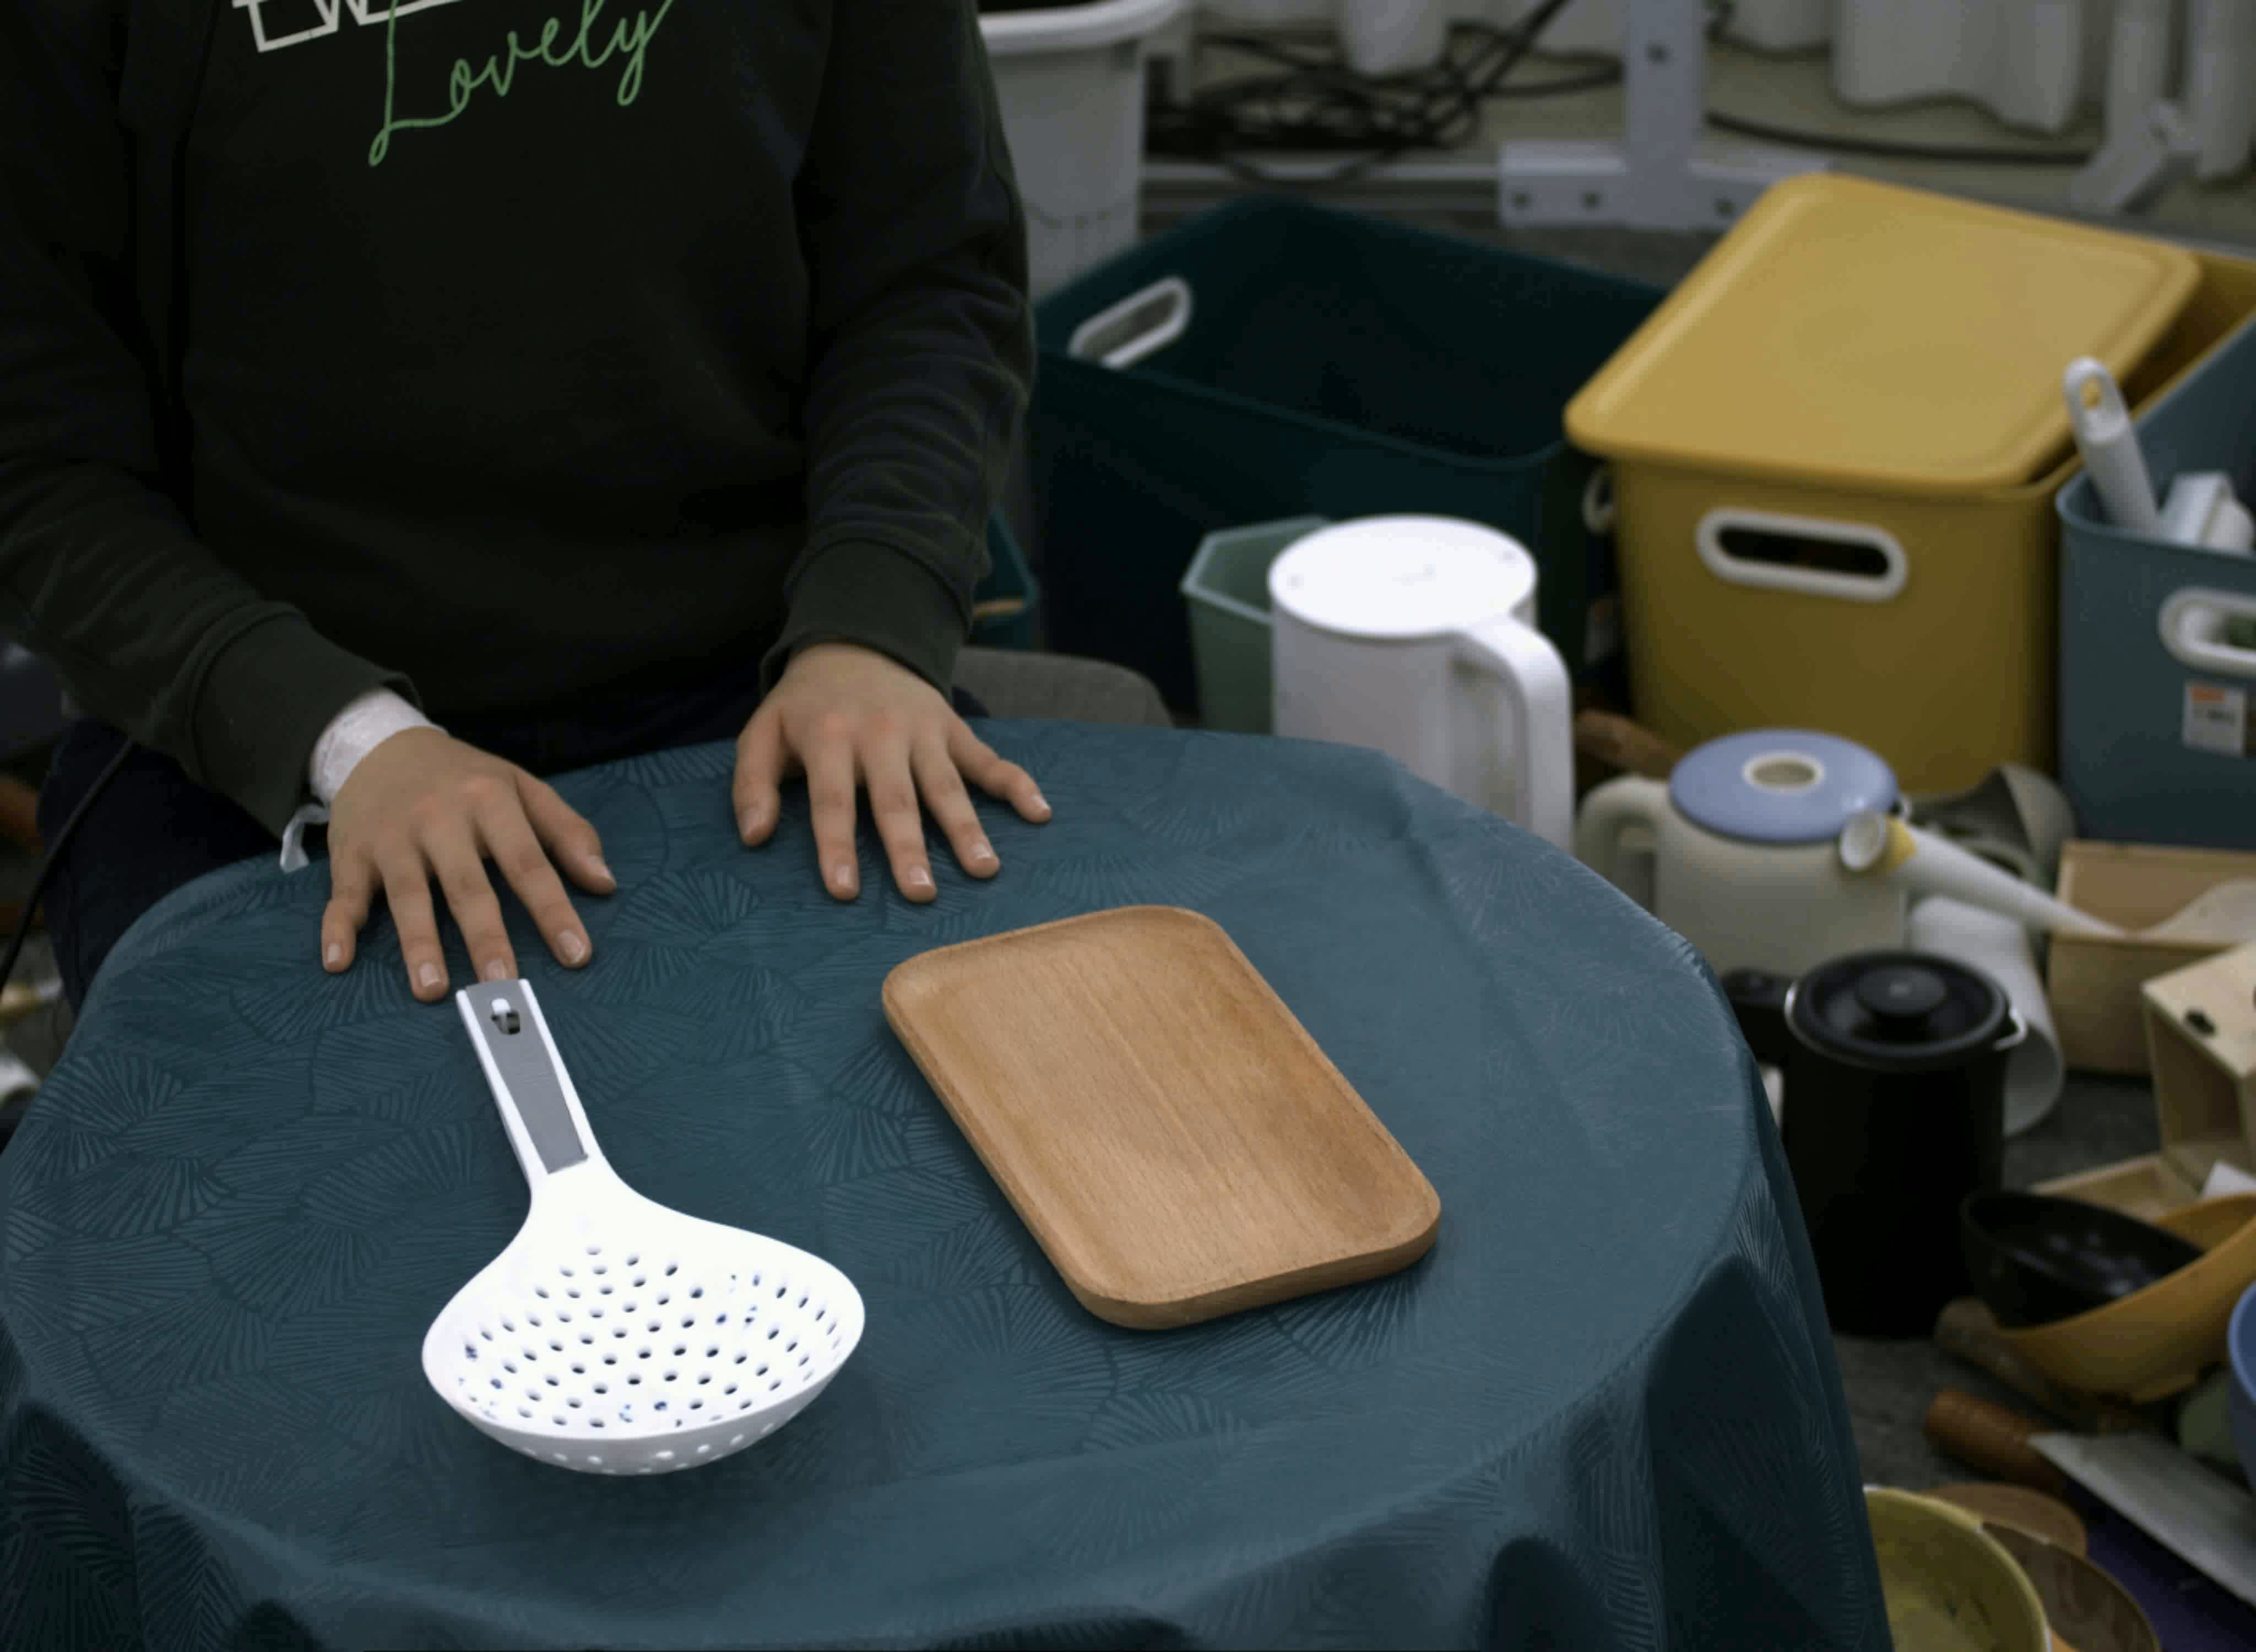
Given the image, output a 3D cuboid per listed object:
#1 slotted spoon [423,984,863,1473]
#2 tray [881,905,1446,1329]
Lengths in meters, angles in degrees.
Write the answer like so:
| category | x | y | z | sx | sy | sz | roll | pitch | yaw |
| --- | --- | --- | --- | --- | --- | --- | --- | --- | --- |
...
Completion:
| category | x | y | z | sx | sy | sz | roll | pitch | yaw |
| --- | --- | --- | --- | --- | --- | --- | --- | --- | --- |
| slotted spoon | -0.177 | 0.124 | 1.825 | 0.136 | 0.045 | 0.353 | -7 | 27 | -13 |
| tray | 0.008 | 0.095 | 1.893 | 0.131 | 0.022 | 0.253 | -10 | 27 | -17 |
